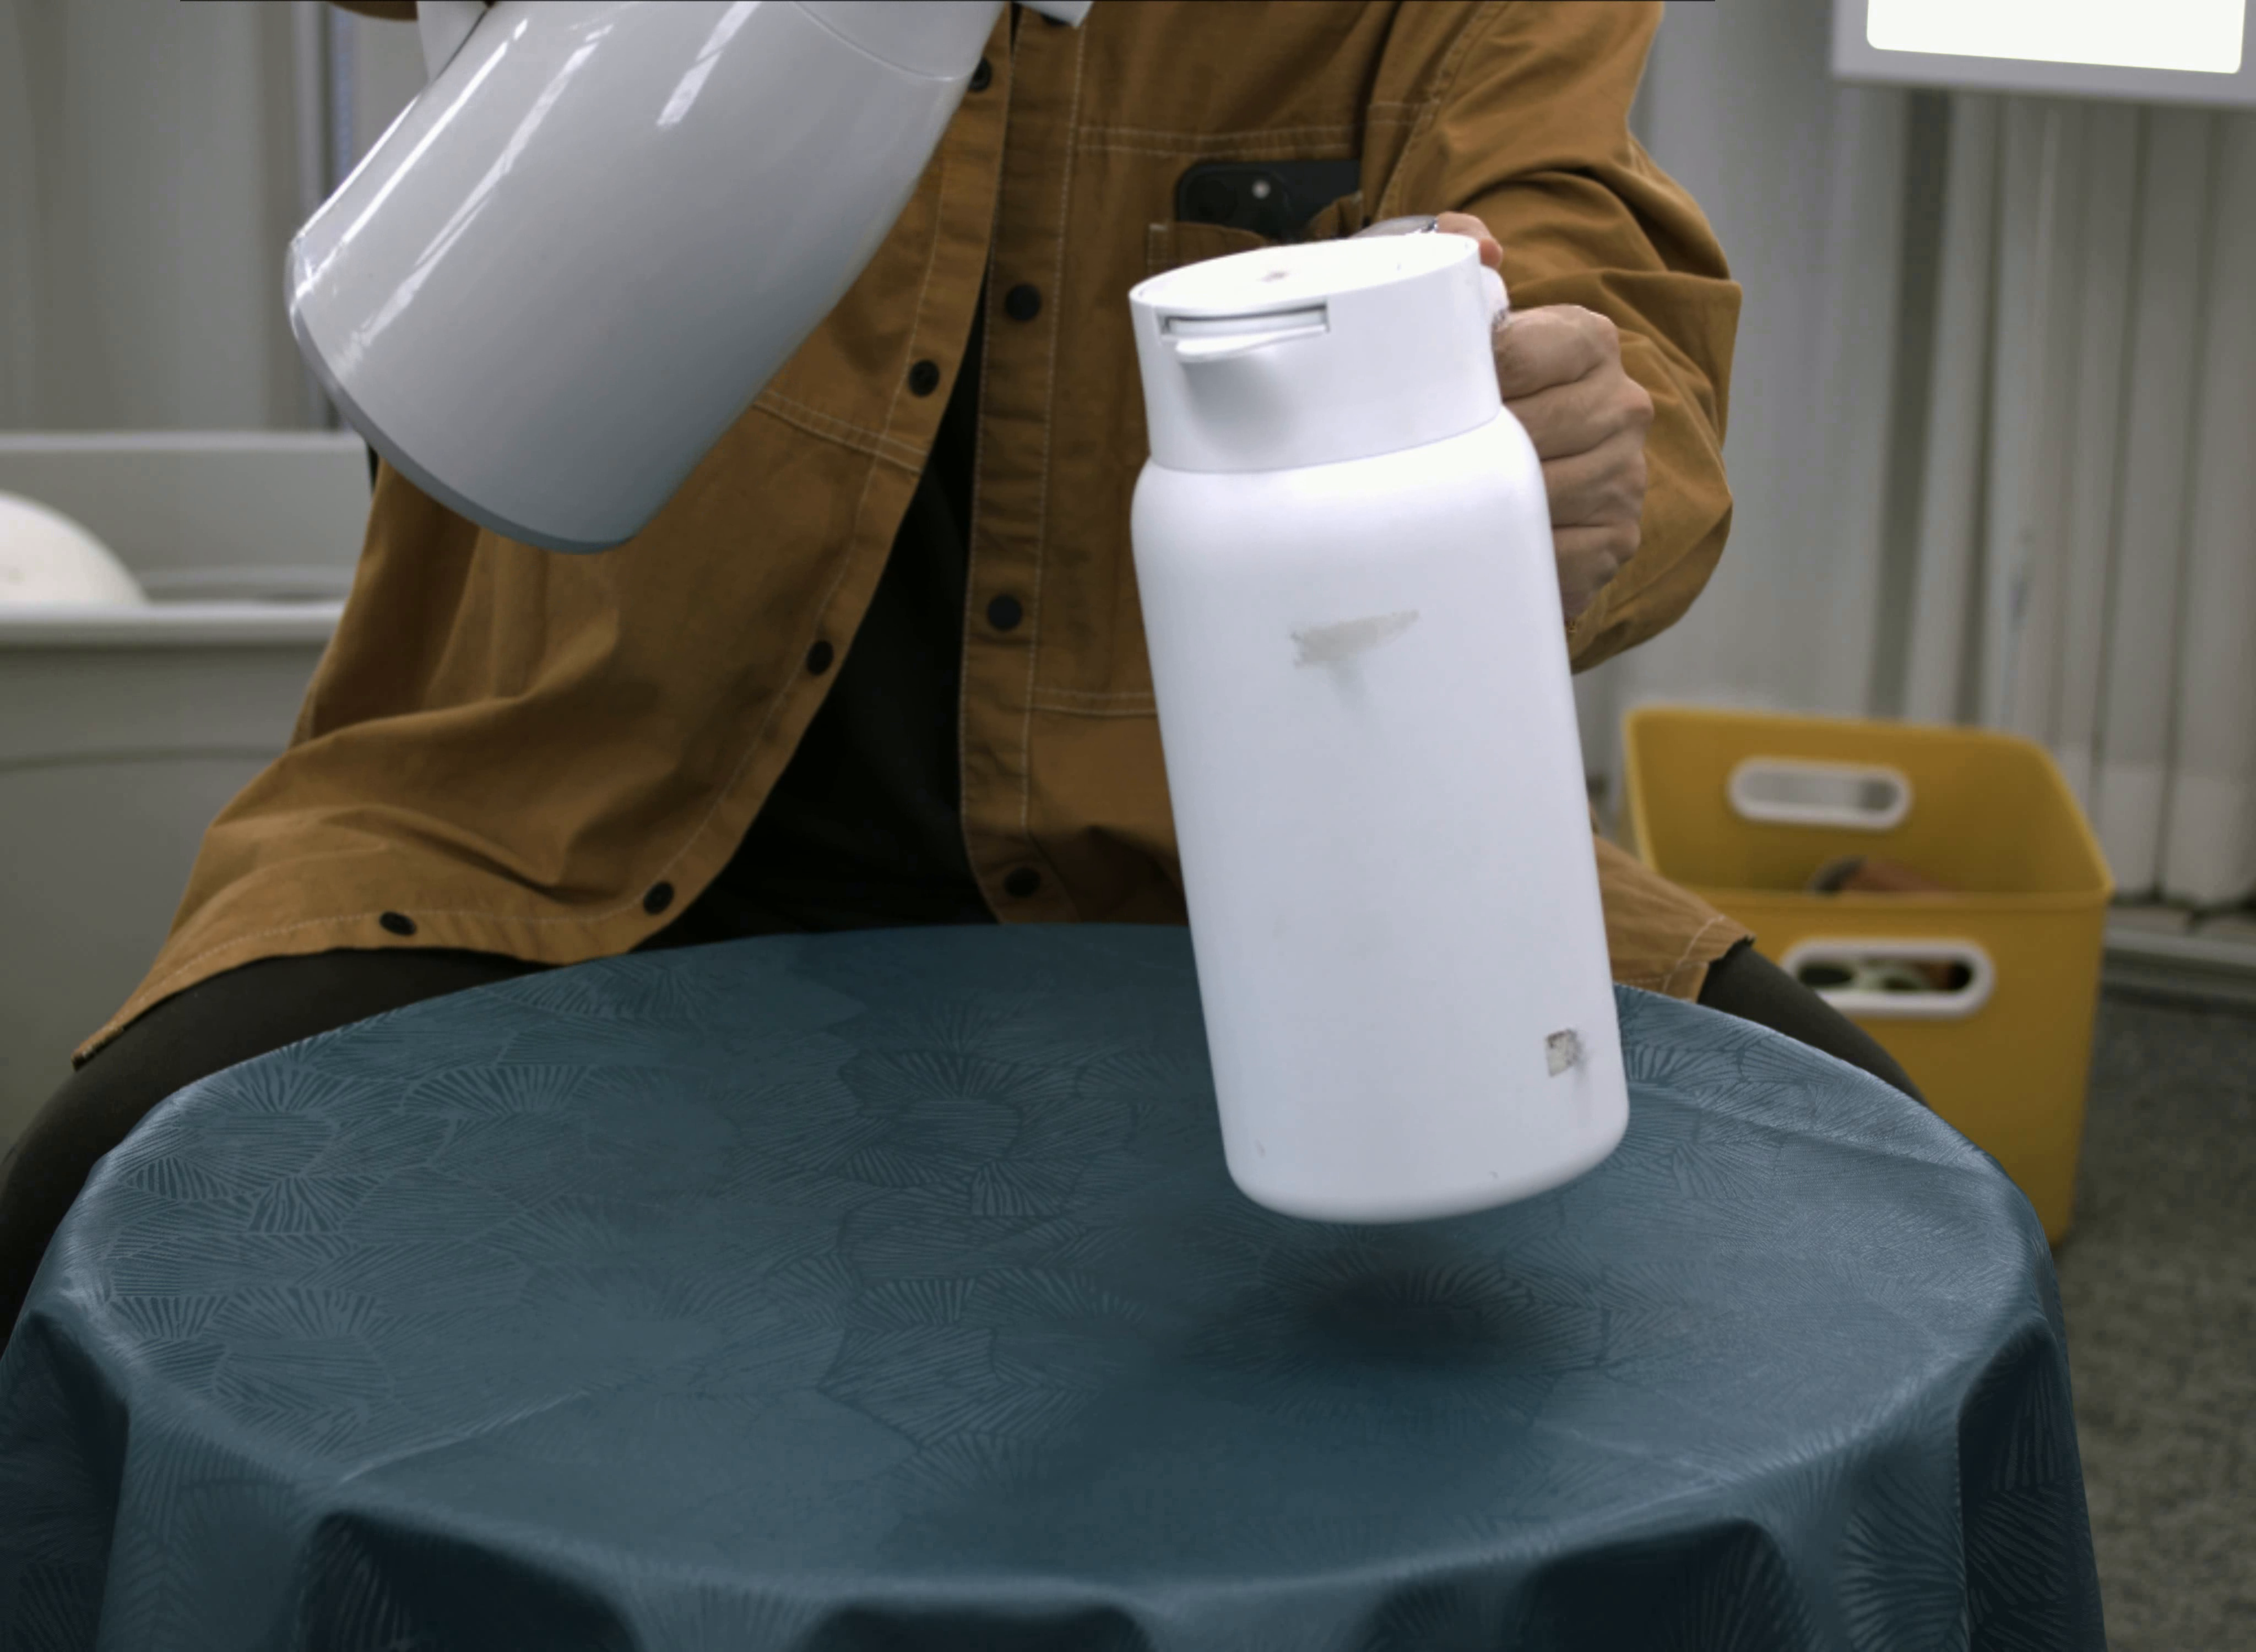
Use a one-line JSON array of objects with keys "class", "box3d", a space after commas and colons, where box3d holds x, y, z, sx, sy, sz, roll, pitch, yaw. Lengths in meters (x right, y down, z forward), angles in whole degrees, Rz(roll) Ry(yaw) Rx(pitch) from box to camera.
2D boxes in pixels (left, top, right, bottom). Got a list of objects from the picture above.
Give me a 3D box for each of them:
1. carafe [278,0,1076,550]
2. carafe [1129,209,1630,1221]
[{"class": "carafe", "box3d": [-0.133, -0.220, 1.476, 0.168, 0.249, 0.132, 37, 28, -11]}, {"class": "carafe", "box3d": [0.074, -0.035, 1.494, 0.122, 0.271, 0.173, -3, 15, 28]}]
